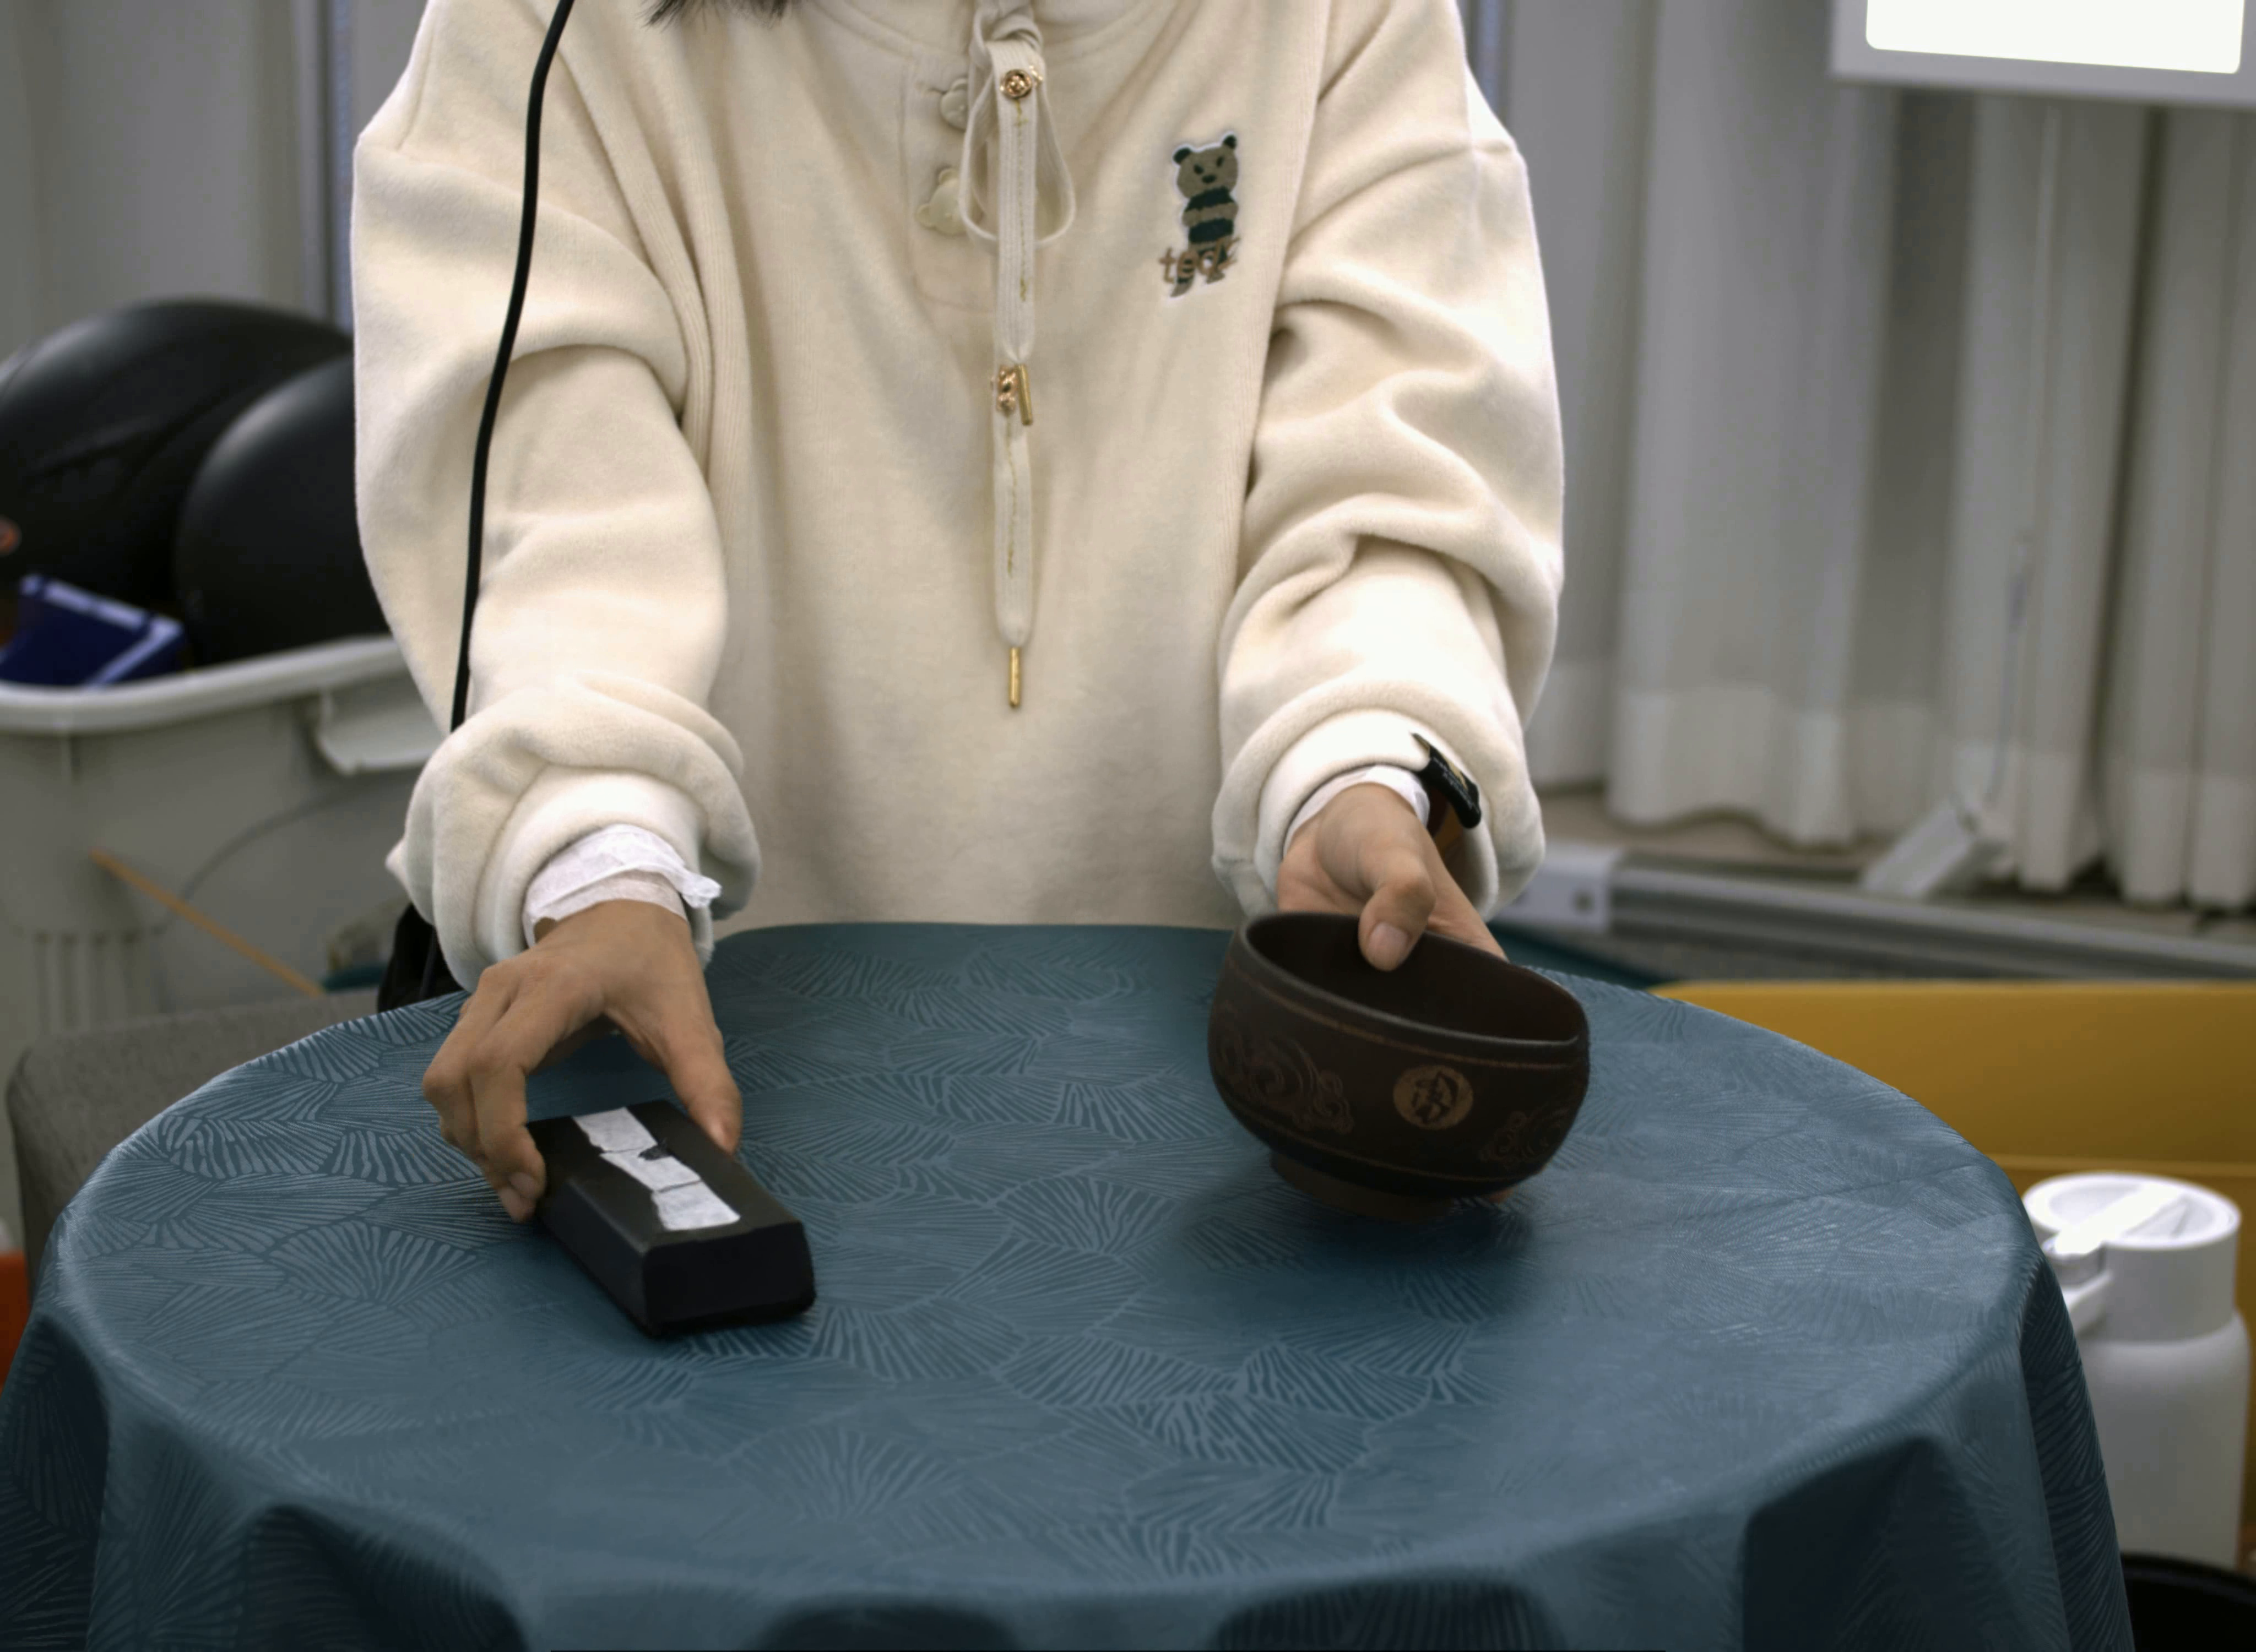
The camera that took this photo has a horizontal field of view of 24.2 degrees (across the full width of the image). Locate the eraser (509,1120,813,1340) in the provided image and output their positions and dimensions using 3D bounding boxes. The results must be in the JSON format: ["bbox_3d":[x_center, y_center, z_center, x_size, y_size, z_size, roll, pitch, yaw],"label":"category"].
[{"bbox_3d":[-0.138,0.117,1.548,0.054,0.031,0.124,-7,15,-23],"label":"eraser"}]

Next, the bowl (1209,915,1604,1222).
[{"bbox_3d":[0.080,0.077,1.588,0.118,0.070,0.117,12,13,-2],"label":"bowl"}]
